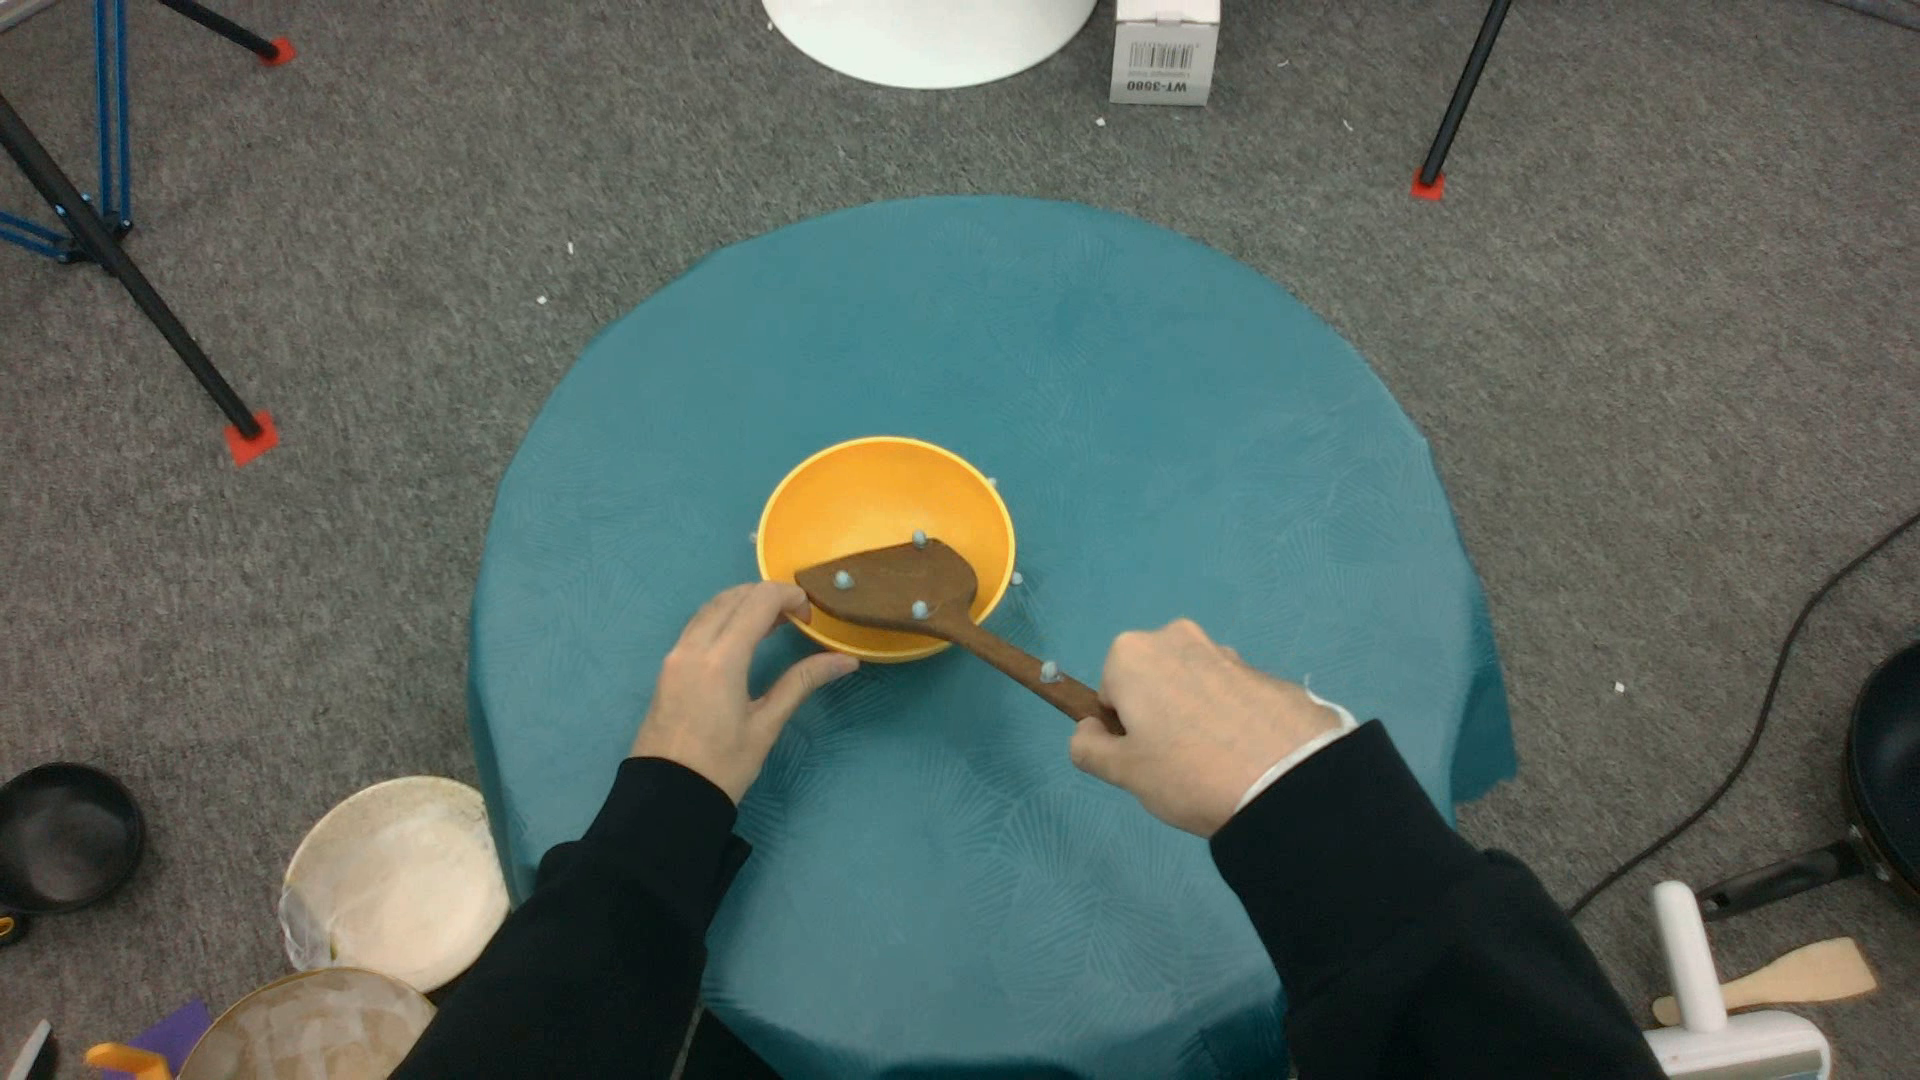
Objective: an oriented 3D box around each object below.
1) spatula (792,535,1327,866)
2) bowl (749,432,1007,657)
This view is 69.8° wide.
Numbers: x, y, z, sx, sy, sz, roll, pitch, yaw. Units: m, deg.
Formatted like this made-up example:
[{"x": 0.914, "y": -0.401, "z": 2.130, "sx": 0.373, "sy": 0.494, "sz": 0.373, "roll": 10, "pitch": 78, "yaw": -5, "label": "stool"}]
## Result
[{"x": 0.031, "y": 0.058, "z": 0.635, "sx": 0.096, "sy": 0.016, "sz": 0.386, "roll": -16, "pitch": 21, "yaw": -25, "label": "spatula"}, {"x": -0.046, "y": 0.012, "z": 0.795, "sx": 0.145, "sy": 0.060, "sz": 0.146, "roll": 1, "pitch": 59, "yaw": -1, "label": "bowl"}]
